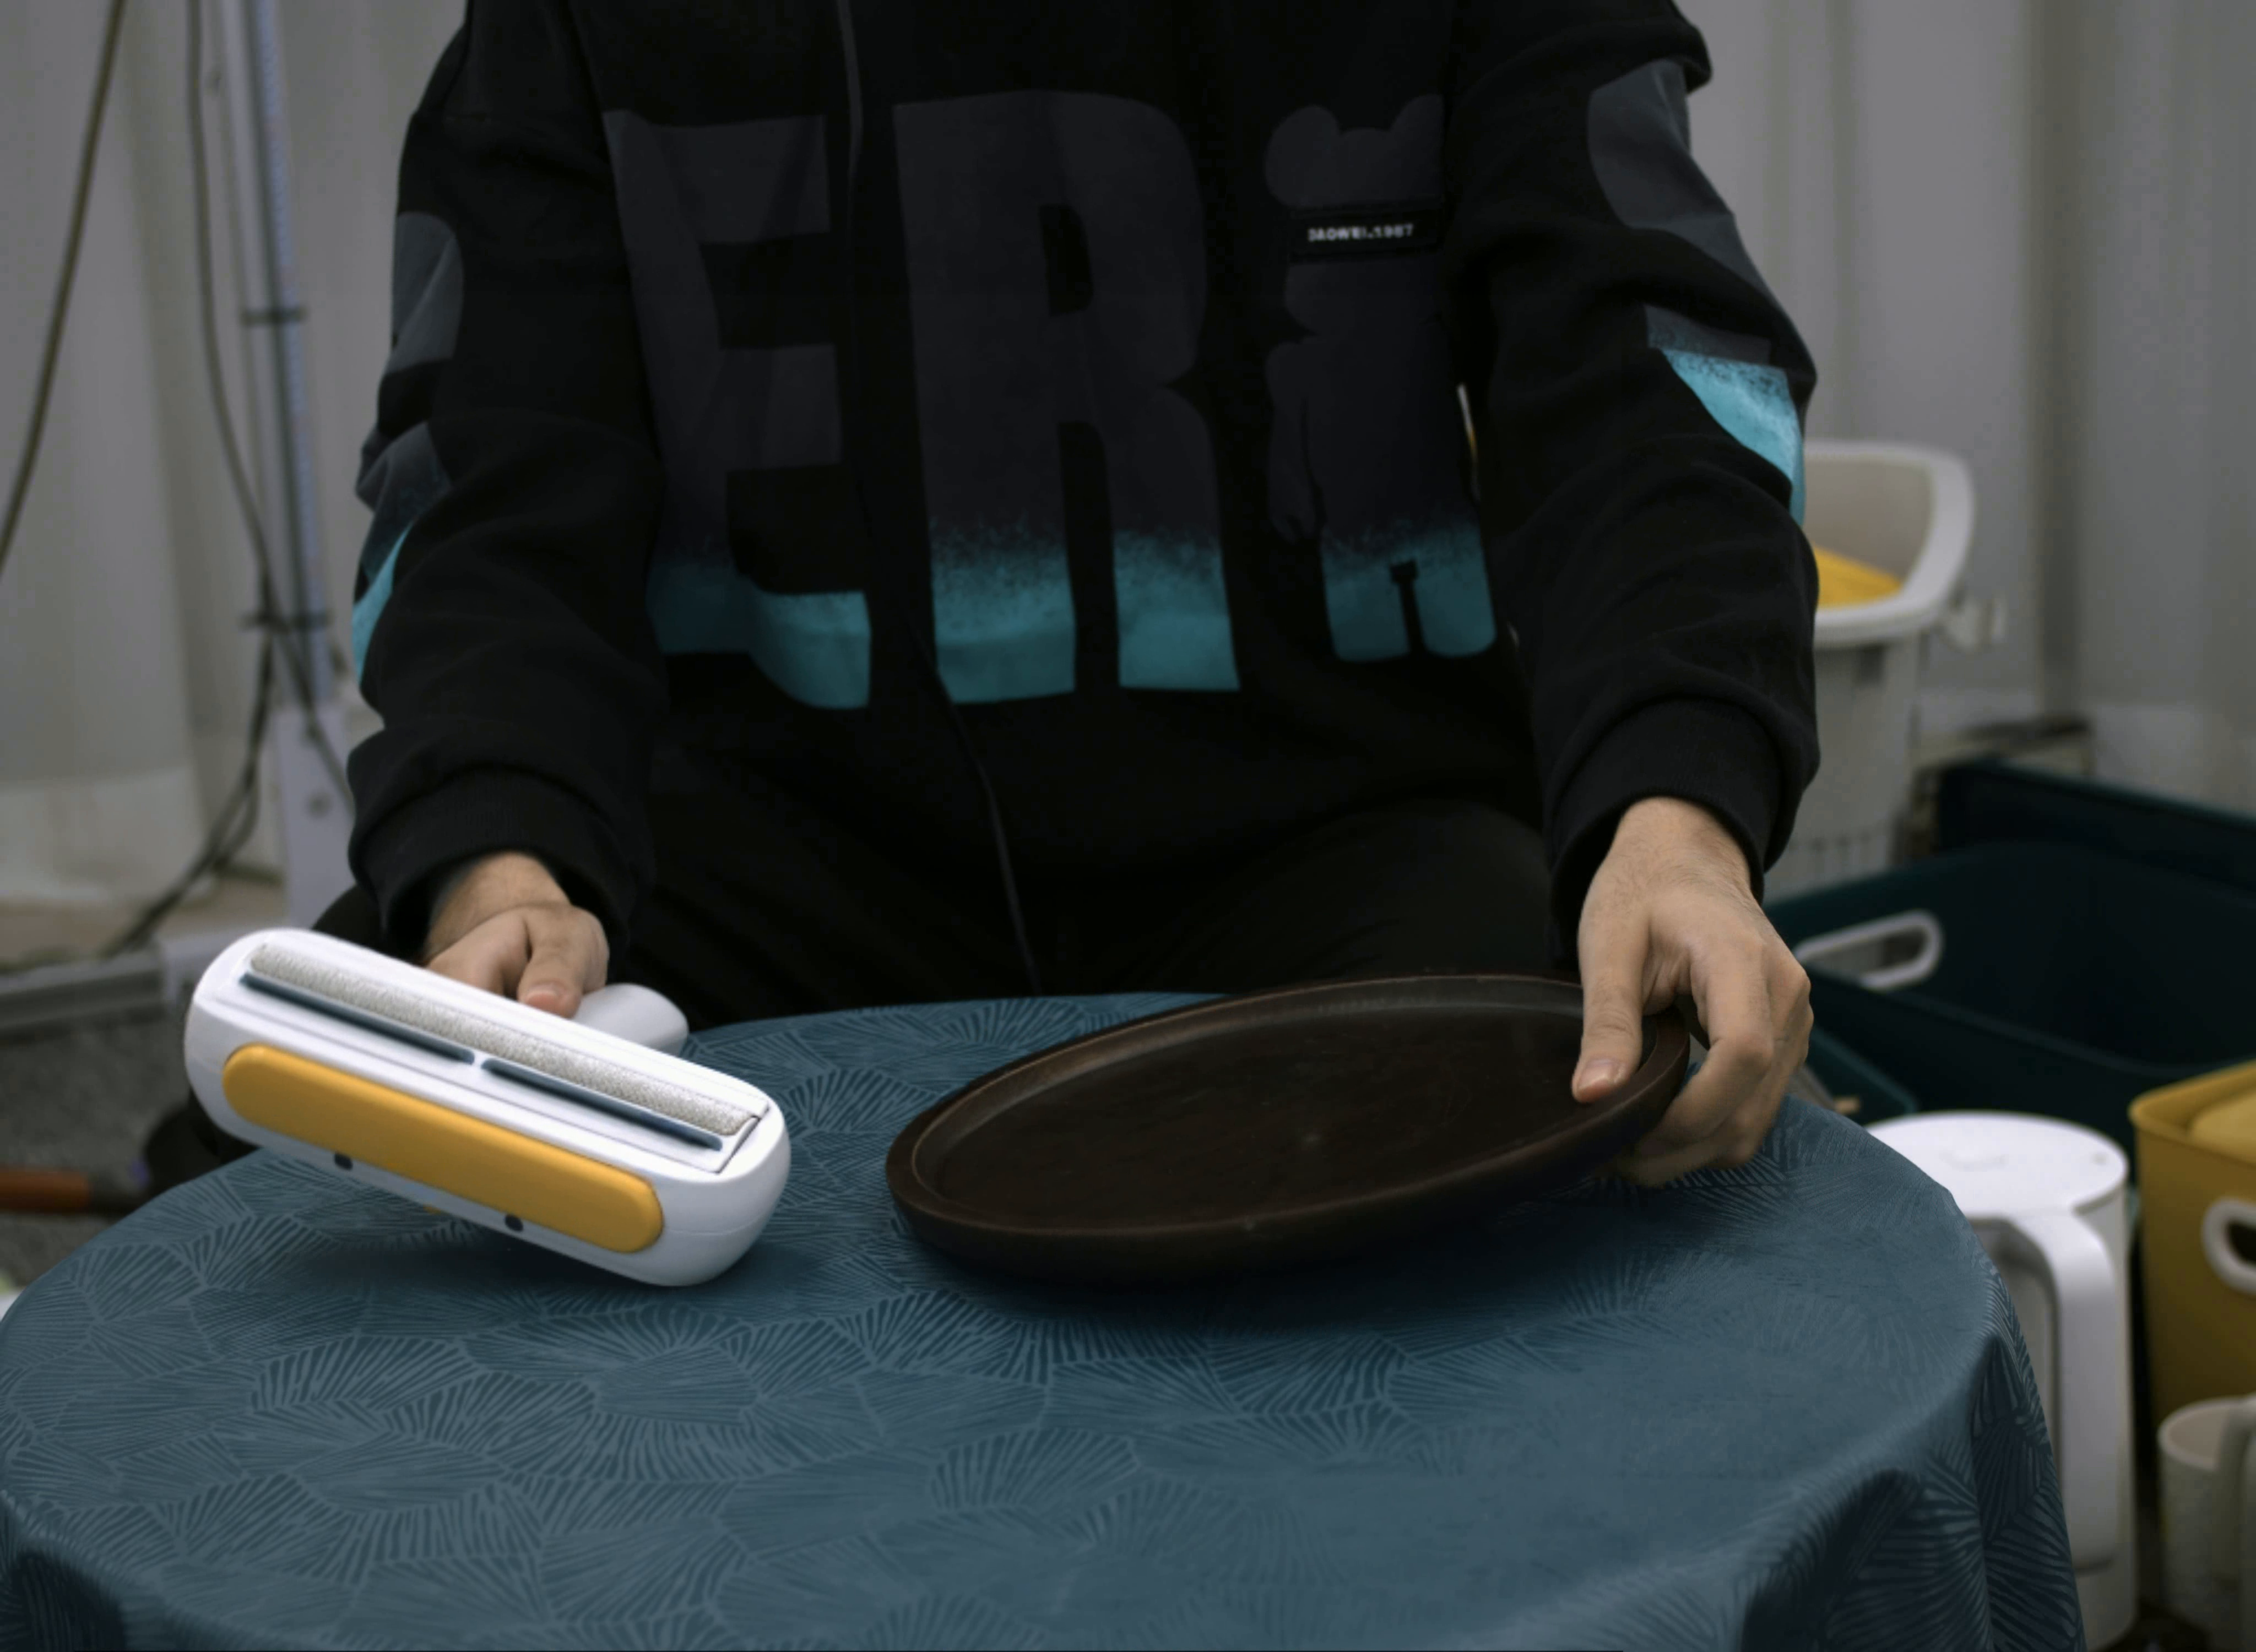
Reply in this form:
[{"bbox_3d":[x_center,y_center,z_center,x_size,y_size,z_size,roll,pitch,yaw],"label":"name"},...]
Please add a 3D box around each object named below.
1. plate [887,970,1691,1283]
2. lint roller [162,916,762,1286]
[{"bbox_3d":[0.050,0.091,1.690,0.254,0.029,0.256,-10,11,2],"label":"plate"},{"bbox_3d":[-0.184,0.073,1.729,0.193,0.074,0.193,16,22,17],"label":"lint roller"}]
